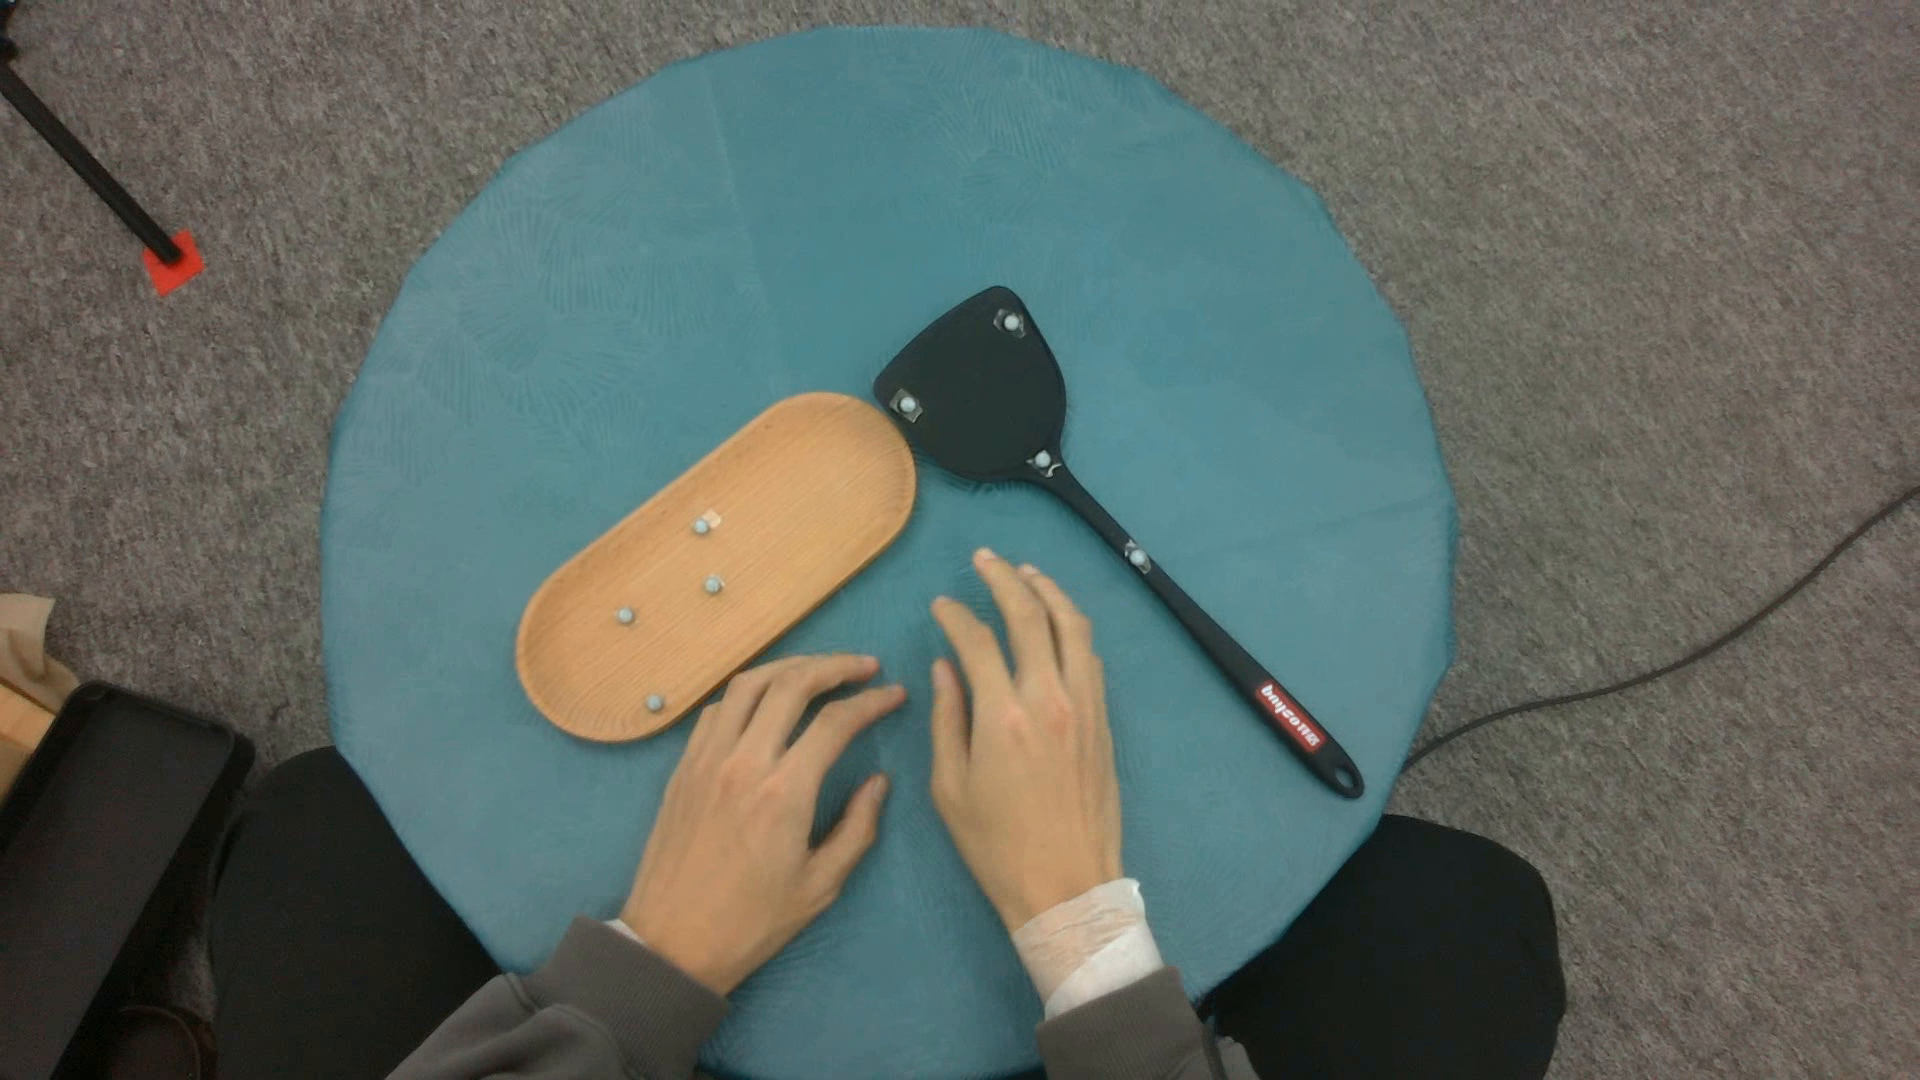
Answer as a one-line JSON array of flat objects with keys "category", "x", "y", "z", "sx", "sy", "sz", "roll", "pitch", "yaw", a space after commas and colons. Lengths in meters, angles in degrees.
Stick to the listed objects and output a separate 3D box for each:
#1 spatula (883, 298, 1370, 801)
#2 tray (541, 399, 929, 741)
[{"category": "spatula", "x": 0.096, "y": 0.011, "z": 0.721, "sx": 0.100, "sy": 0.040, "sz": 0.326, "roll": -40, "pitch": 75, "yaw": -12}, {"category": "tray", "x": -0.116, "y": 0.014, "z": 0.729, "sx": 0.232, "sy": 0.020, "sz": 0.102, "roll": -40, "pitch": 76, "yaw": -14}]
